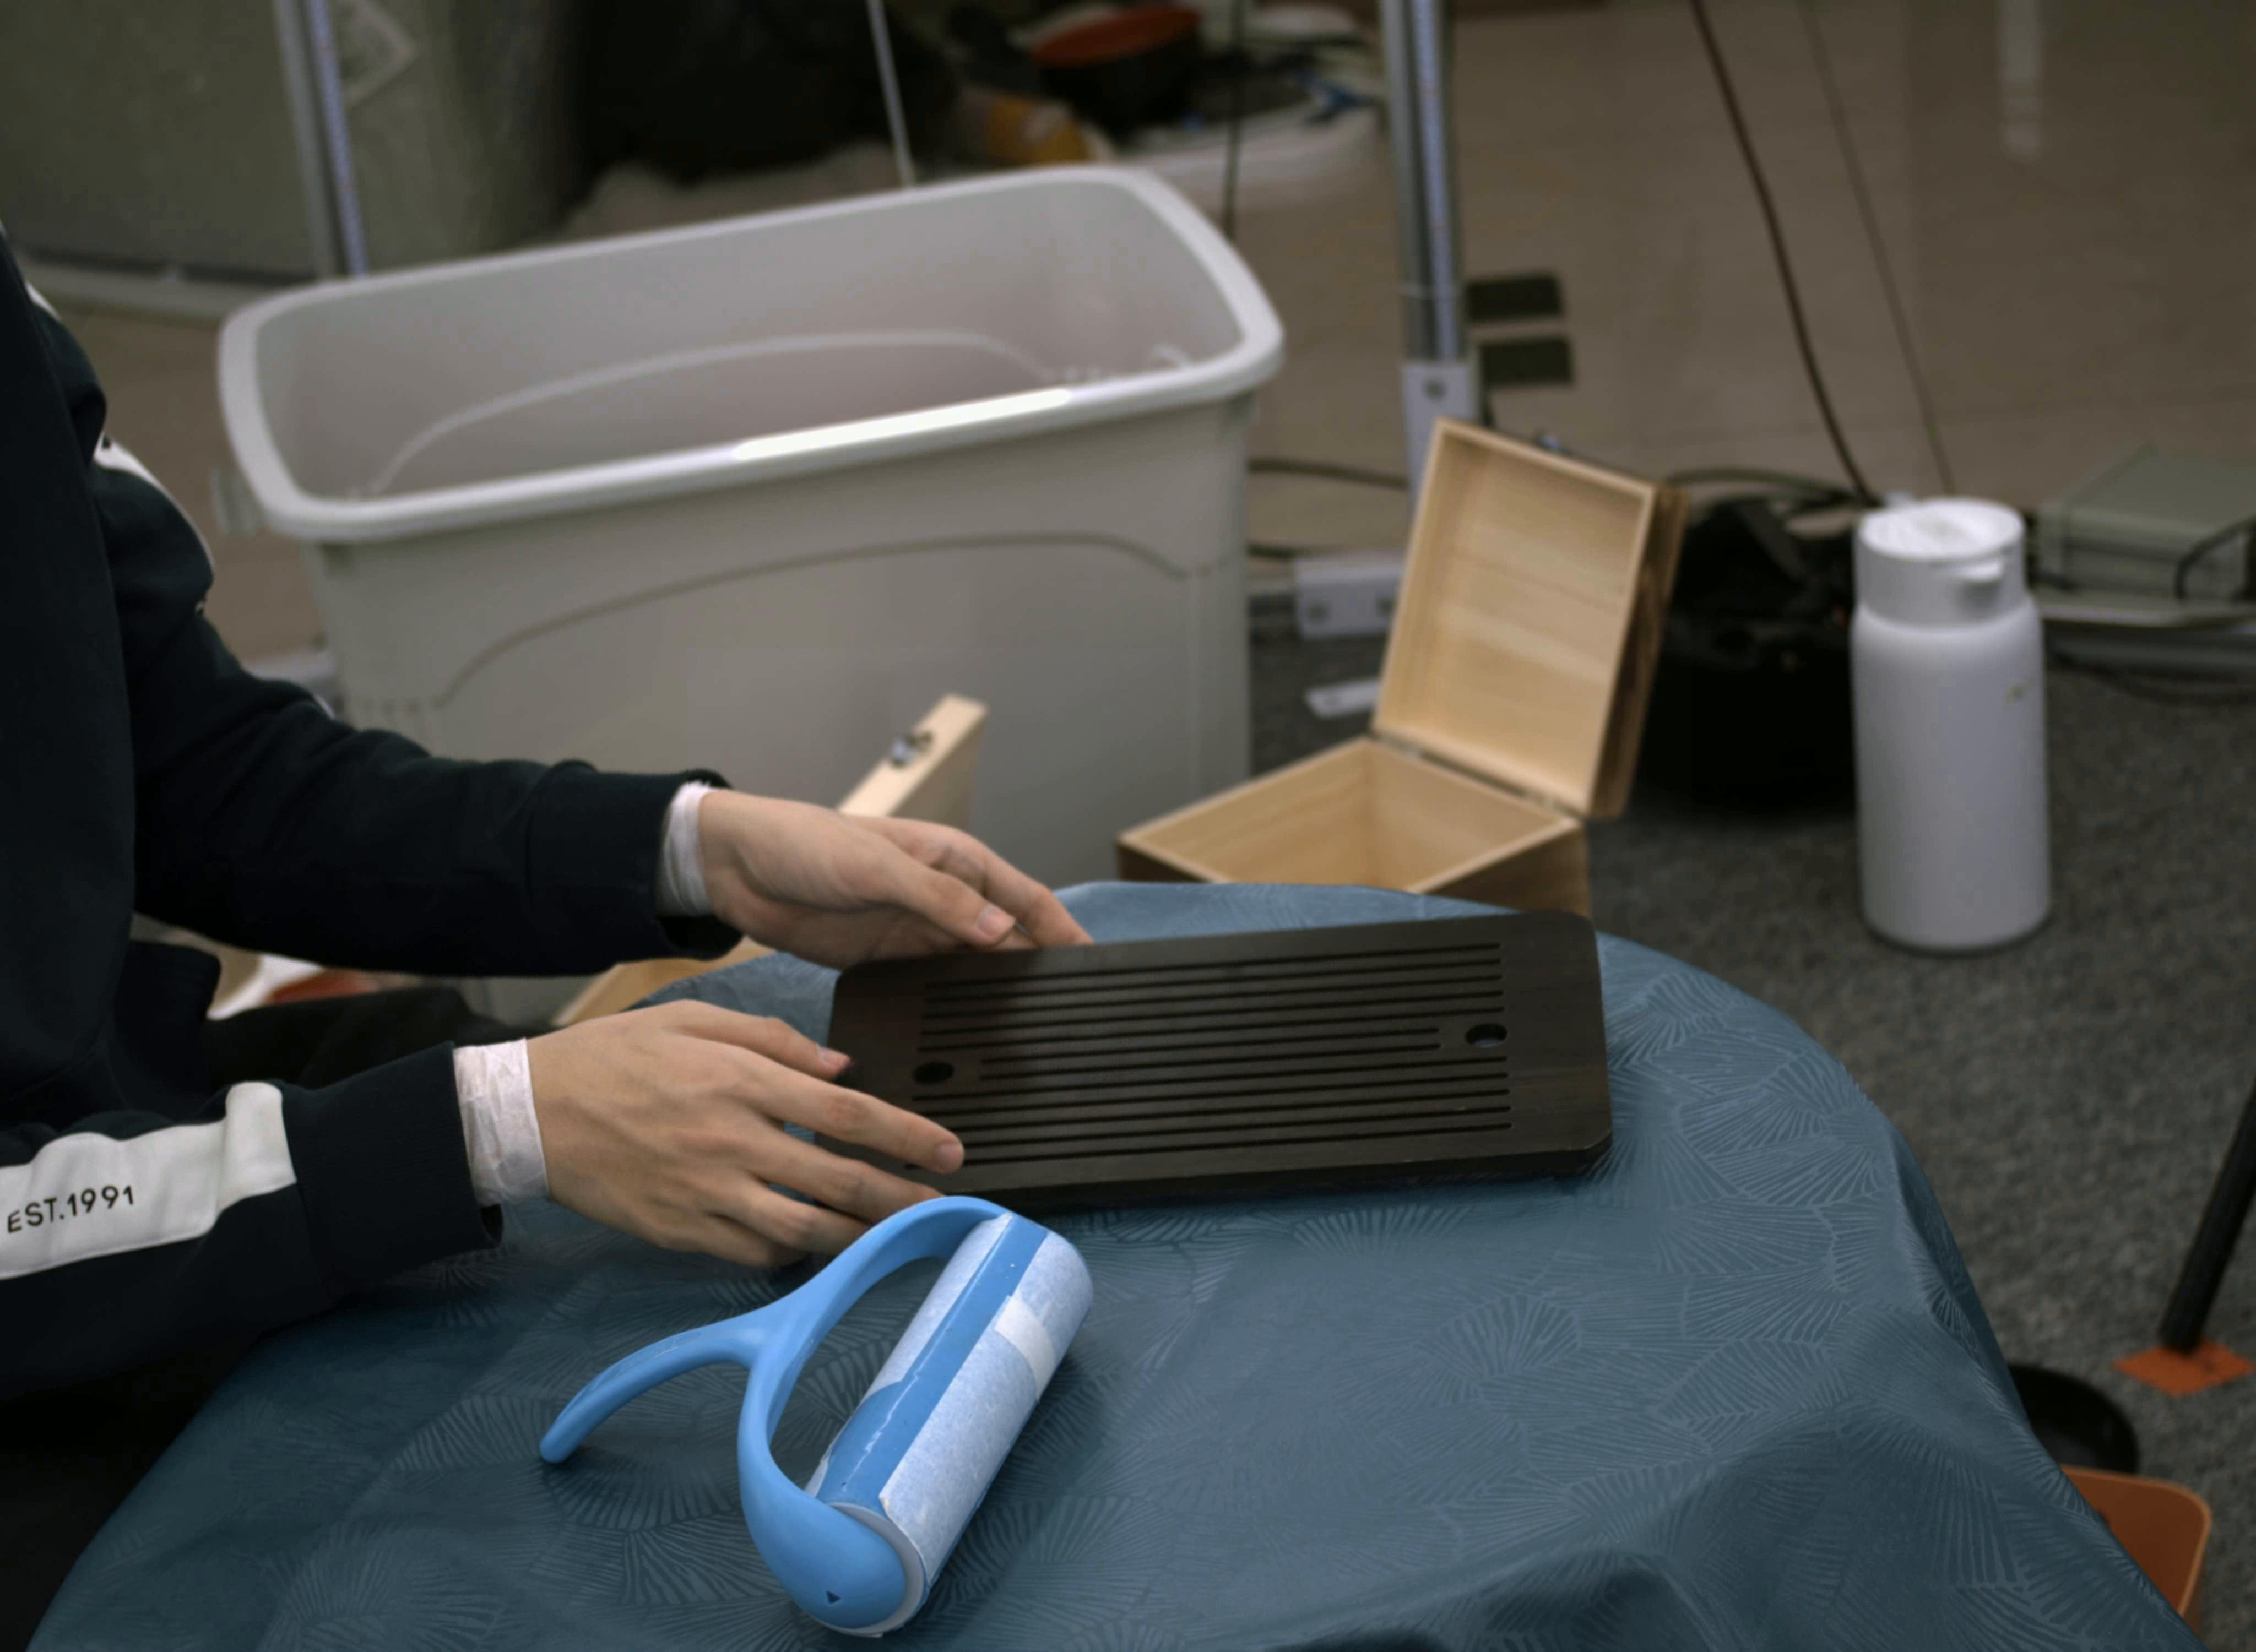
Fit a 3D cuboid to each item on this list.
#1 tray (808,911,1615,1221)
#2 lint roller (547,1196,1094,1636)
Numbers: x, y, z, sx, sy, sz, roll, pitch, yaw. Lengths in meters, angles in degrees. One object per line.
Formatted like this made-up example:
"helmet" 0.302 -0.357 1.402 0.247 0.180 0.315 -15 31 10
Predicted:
"tray" 0.032 0.094 2.193 0.305 0.019 0.167 -5 31 4
"lint roller" -0.121 0.201 1.972 0.180 0.069 0.225 2 28 14
